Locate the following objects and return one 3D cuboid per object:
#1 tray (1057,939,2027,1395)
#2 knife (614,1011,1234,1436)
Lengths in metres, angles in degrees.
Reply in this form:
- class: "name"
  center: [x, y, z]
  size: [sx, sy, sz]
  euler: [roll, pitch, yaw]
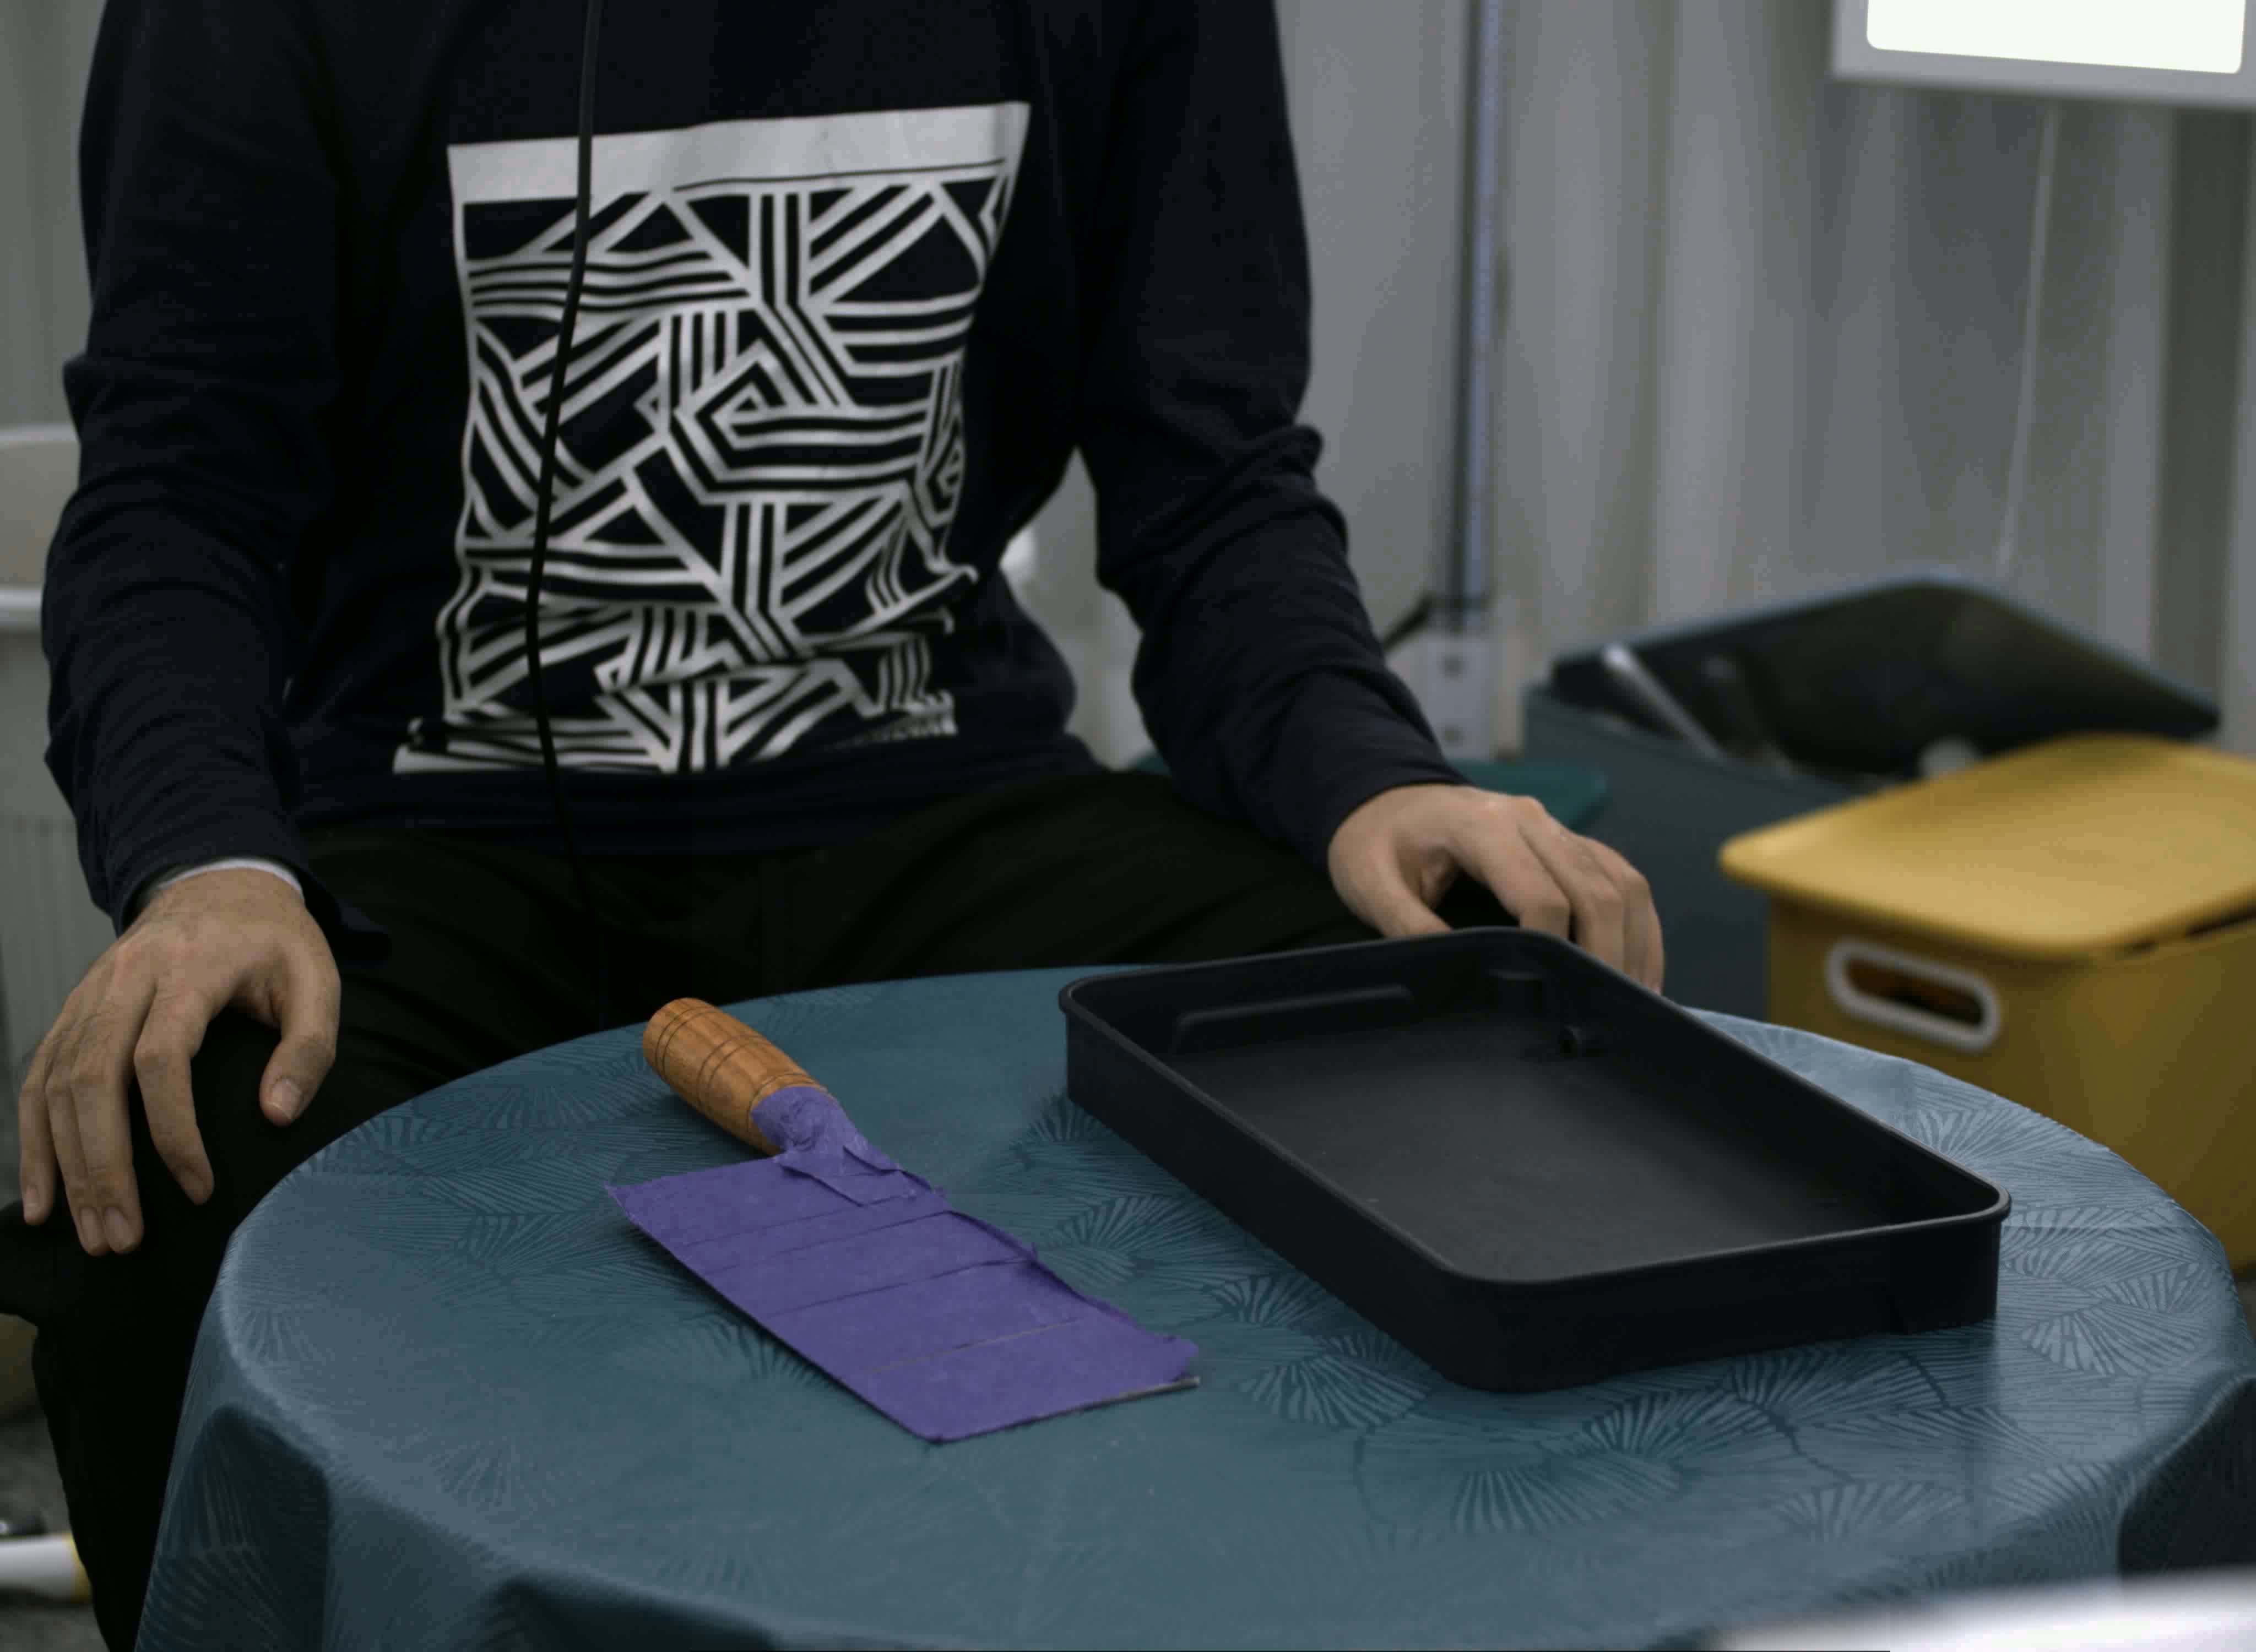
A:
- class: "tray"
  center: [0.119, 0.099, 1.618]
  size: [0.185, 0.037, 0.314]
  euler: [-7, 16, -24]
- class: "knife"
  center: [-0.093, 0.114, 1.565]
  size: [0.104, 0.032, 0.311]
  euler: [-9, 18, -31]
